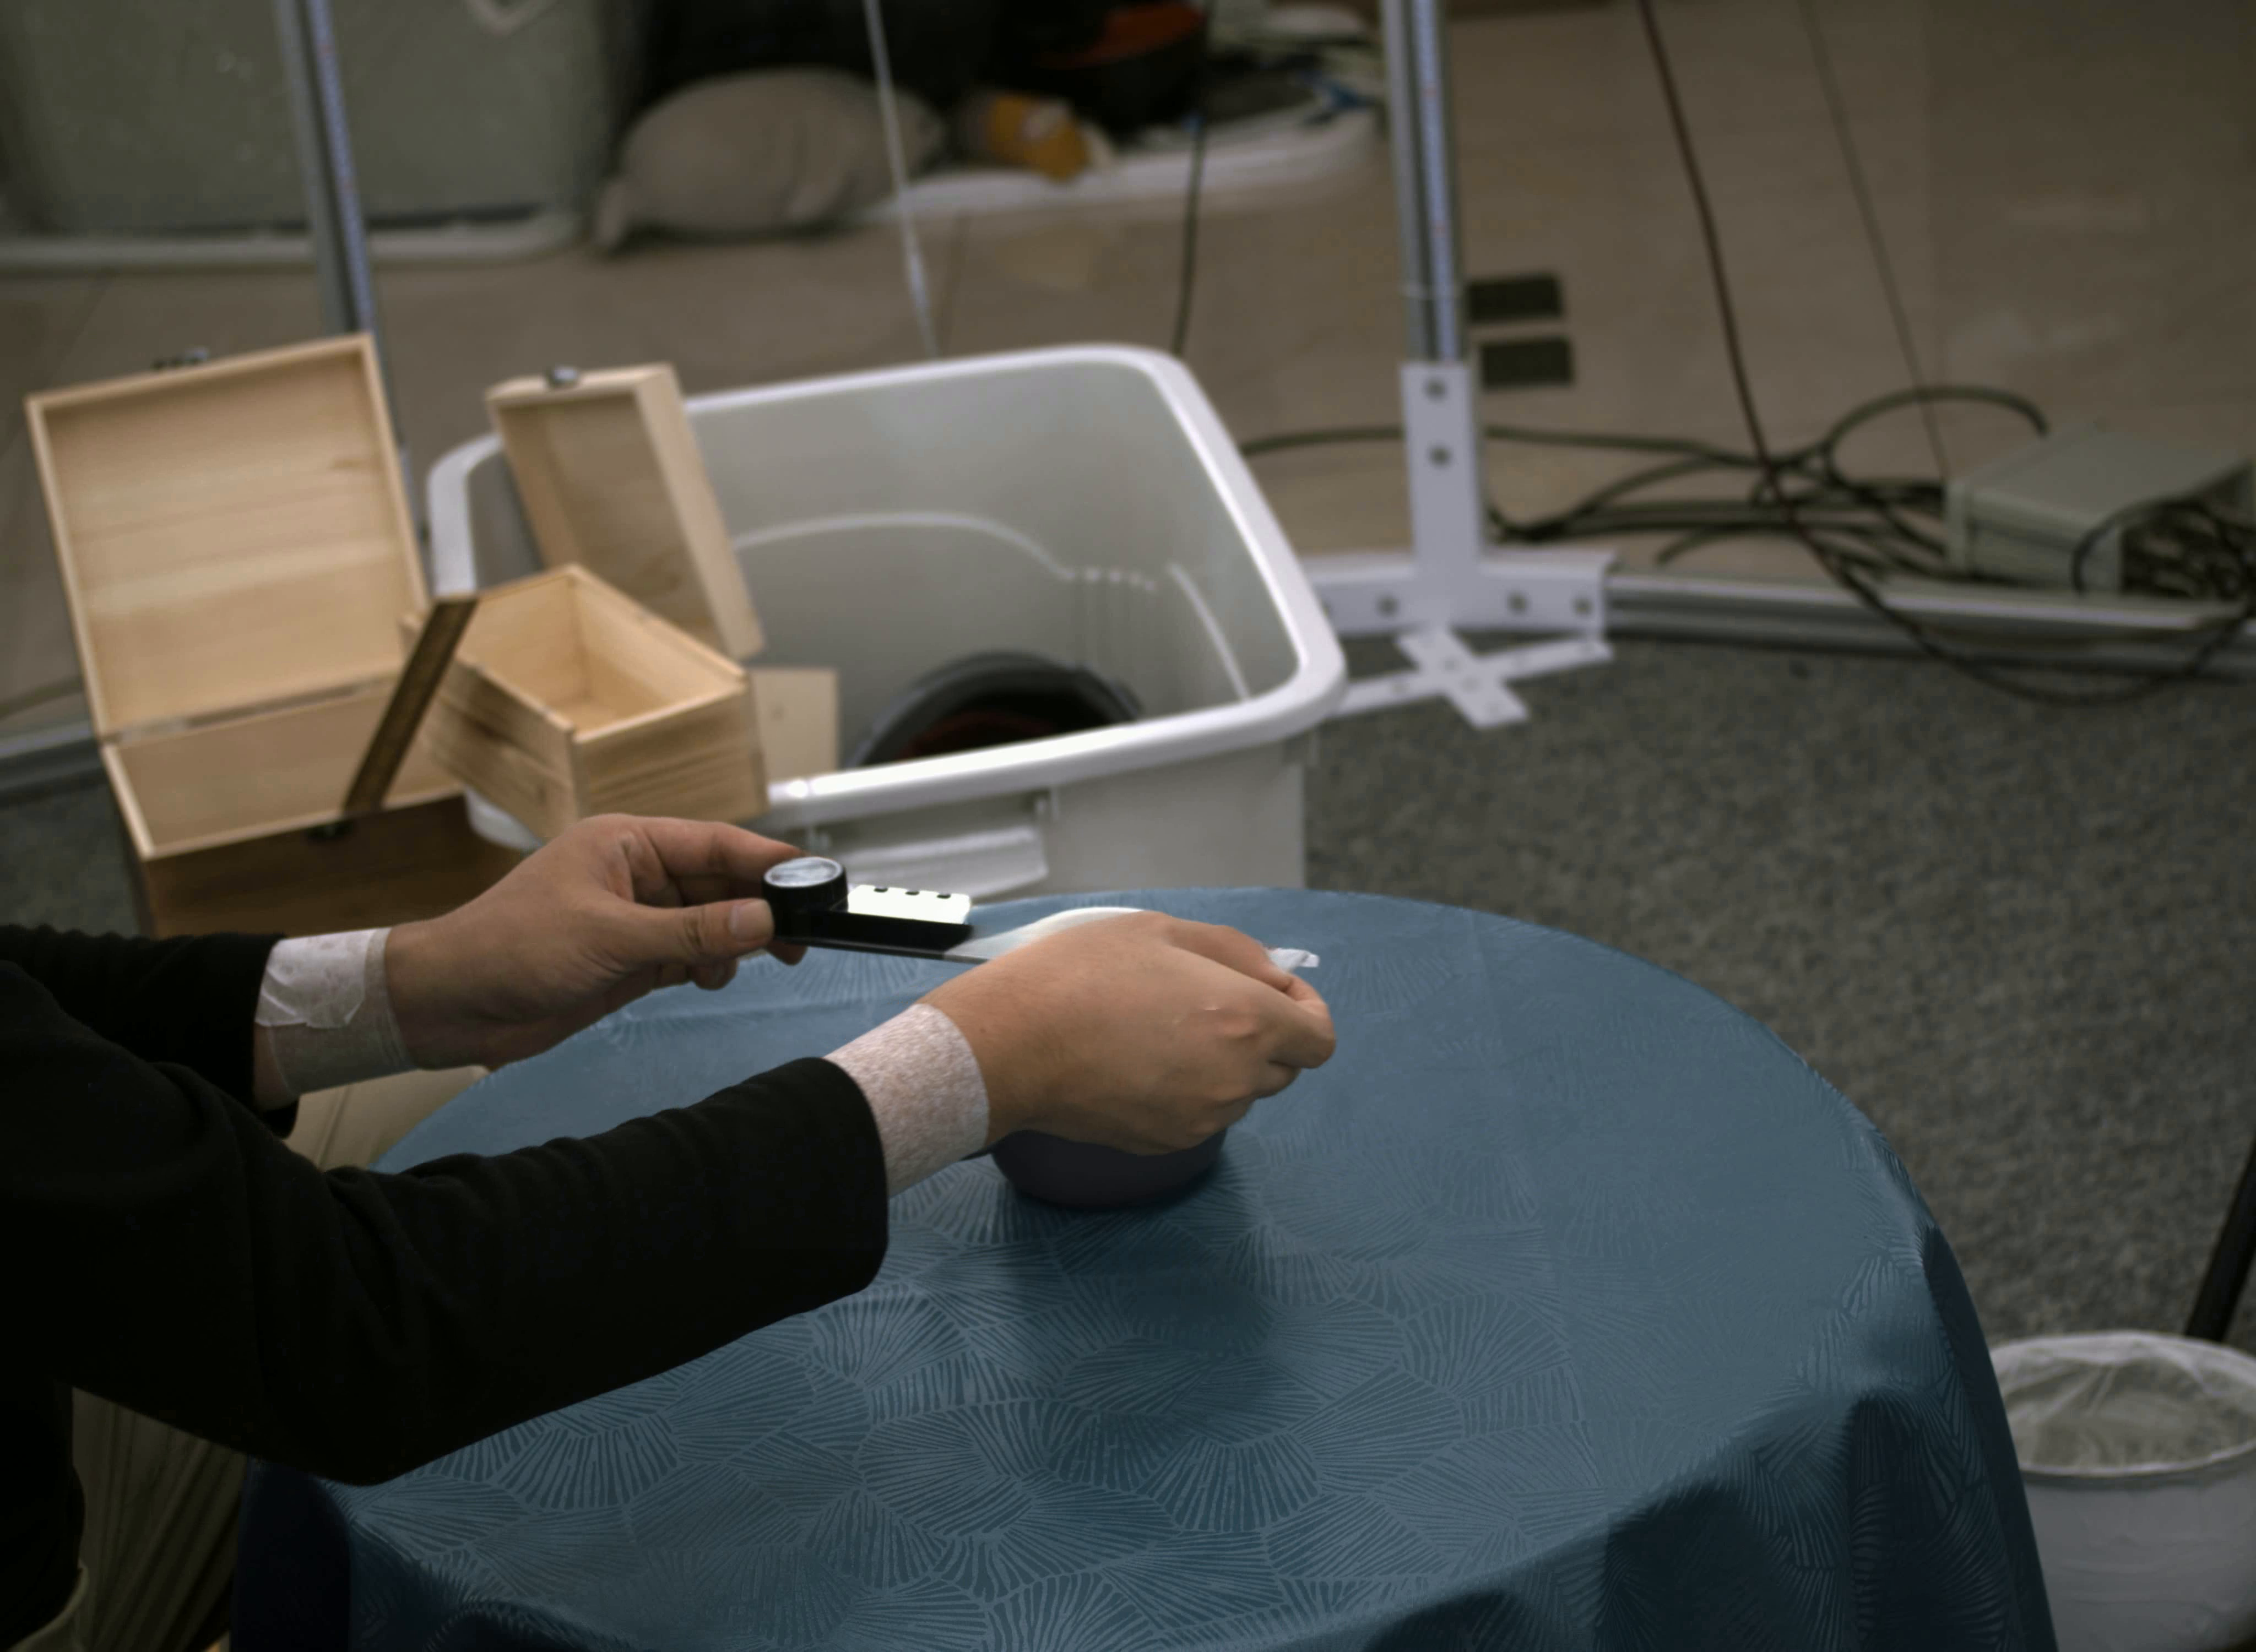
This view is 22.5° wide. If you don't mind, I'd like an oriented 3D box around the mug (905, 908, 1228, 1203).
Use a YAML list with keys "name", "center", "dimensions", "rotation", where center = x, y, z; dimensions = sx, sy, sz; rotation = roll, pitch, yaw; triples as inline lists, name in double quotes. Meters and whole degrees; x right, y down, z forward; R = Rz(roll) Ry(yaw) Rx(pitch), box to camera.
- name: "mug"
  center: [-0.025, 0.090, 2.148]
  dimensions: [0.123, 0.091, 0.092]
  rotation: [-12, 25, -12]

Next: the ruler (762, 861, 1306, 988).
- name: "ruler"
  center: [-0.040, 0.035, 2.092]
  dimensions: [0.217, 0.024, 0.038]
  rotation: [4, 30, 28]
